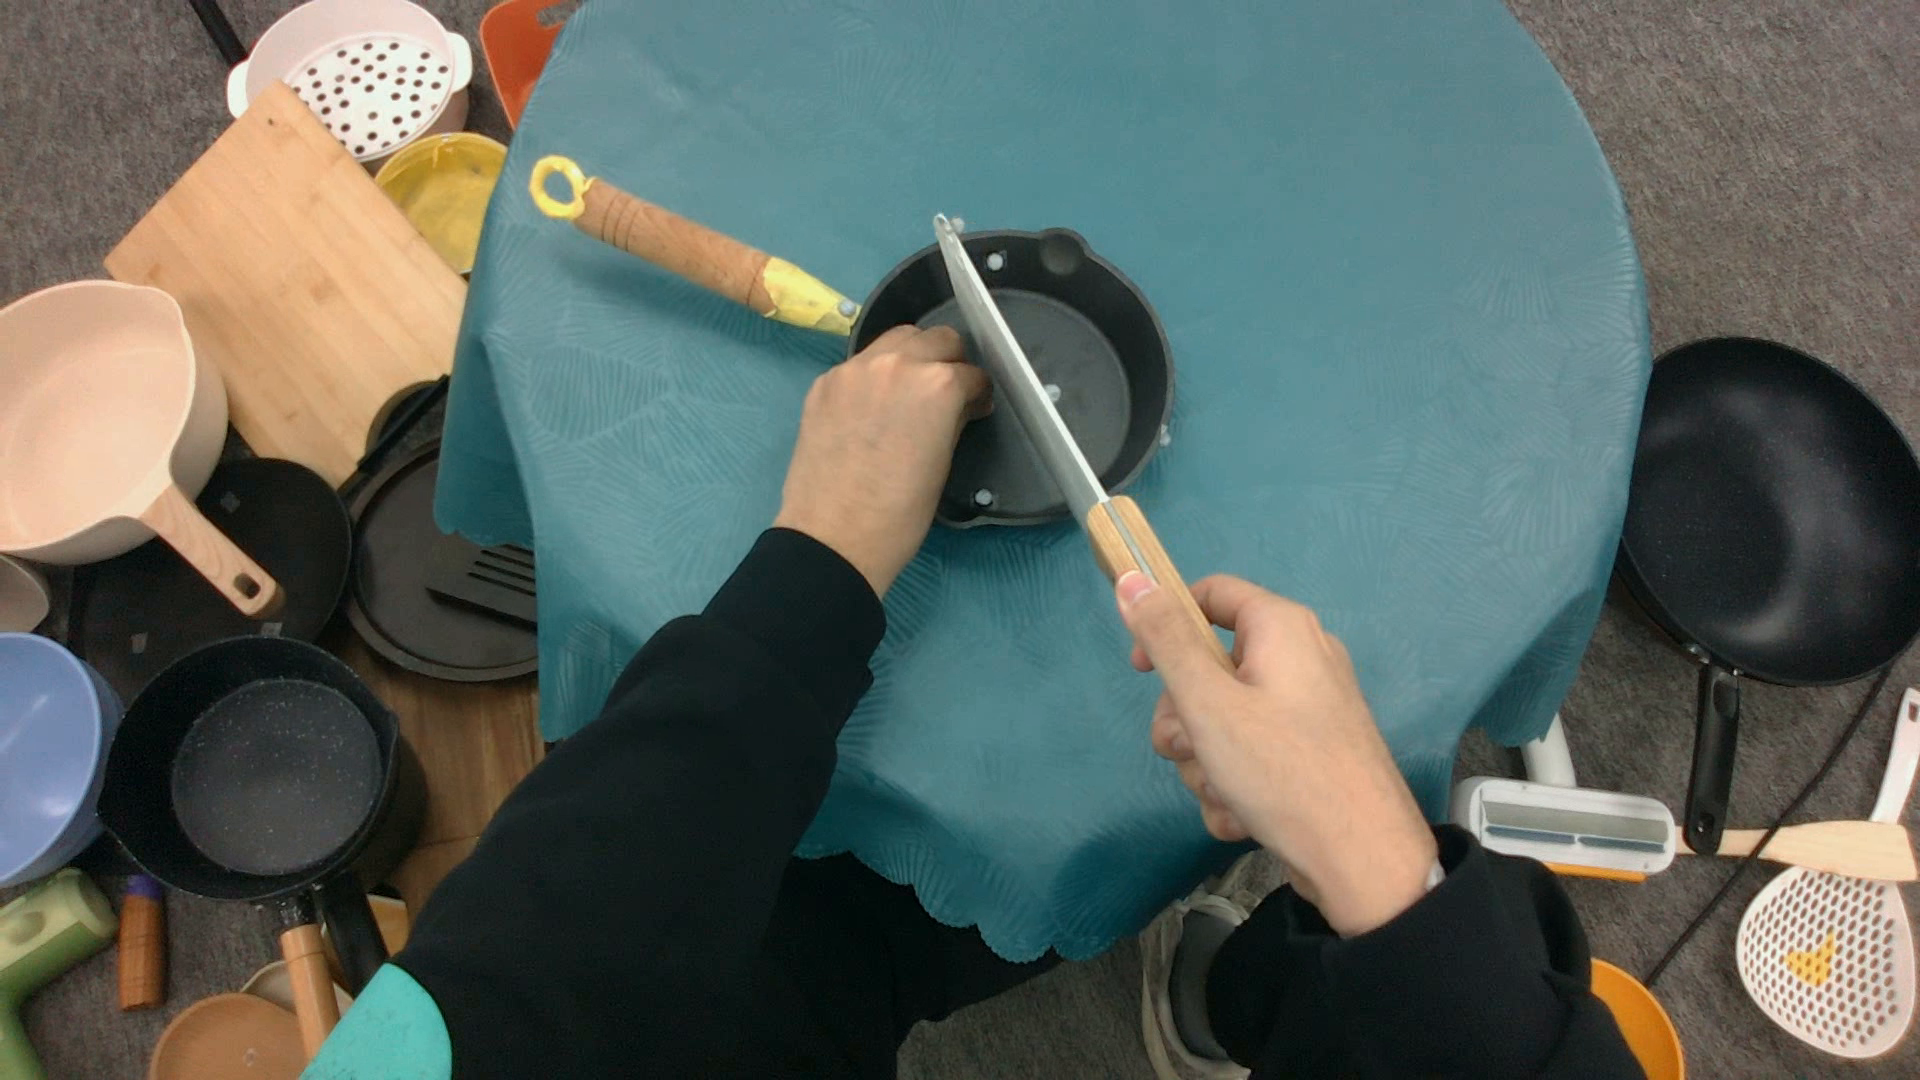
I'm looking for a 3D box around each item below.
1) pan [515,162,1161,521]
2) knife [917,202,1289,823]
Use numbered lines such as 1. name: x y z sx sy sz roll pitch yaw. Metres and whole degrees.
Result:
1. pan: -0.062 -0.112 0.666 0.324 0.049 0.169 21 70 4
2. knife: 0.045 -0.021 0.561 0.022 0.113 0.316 -26 55 -3
